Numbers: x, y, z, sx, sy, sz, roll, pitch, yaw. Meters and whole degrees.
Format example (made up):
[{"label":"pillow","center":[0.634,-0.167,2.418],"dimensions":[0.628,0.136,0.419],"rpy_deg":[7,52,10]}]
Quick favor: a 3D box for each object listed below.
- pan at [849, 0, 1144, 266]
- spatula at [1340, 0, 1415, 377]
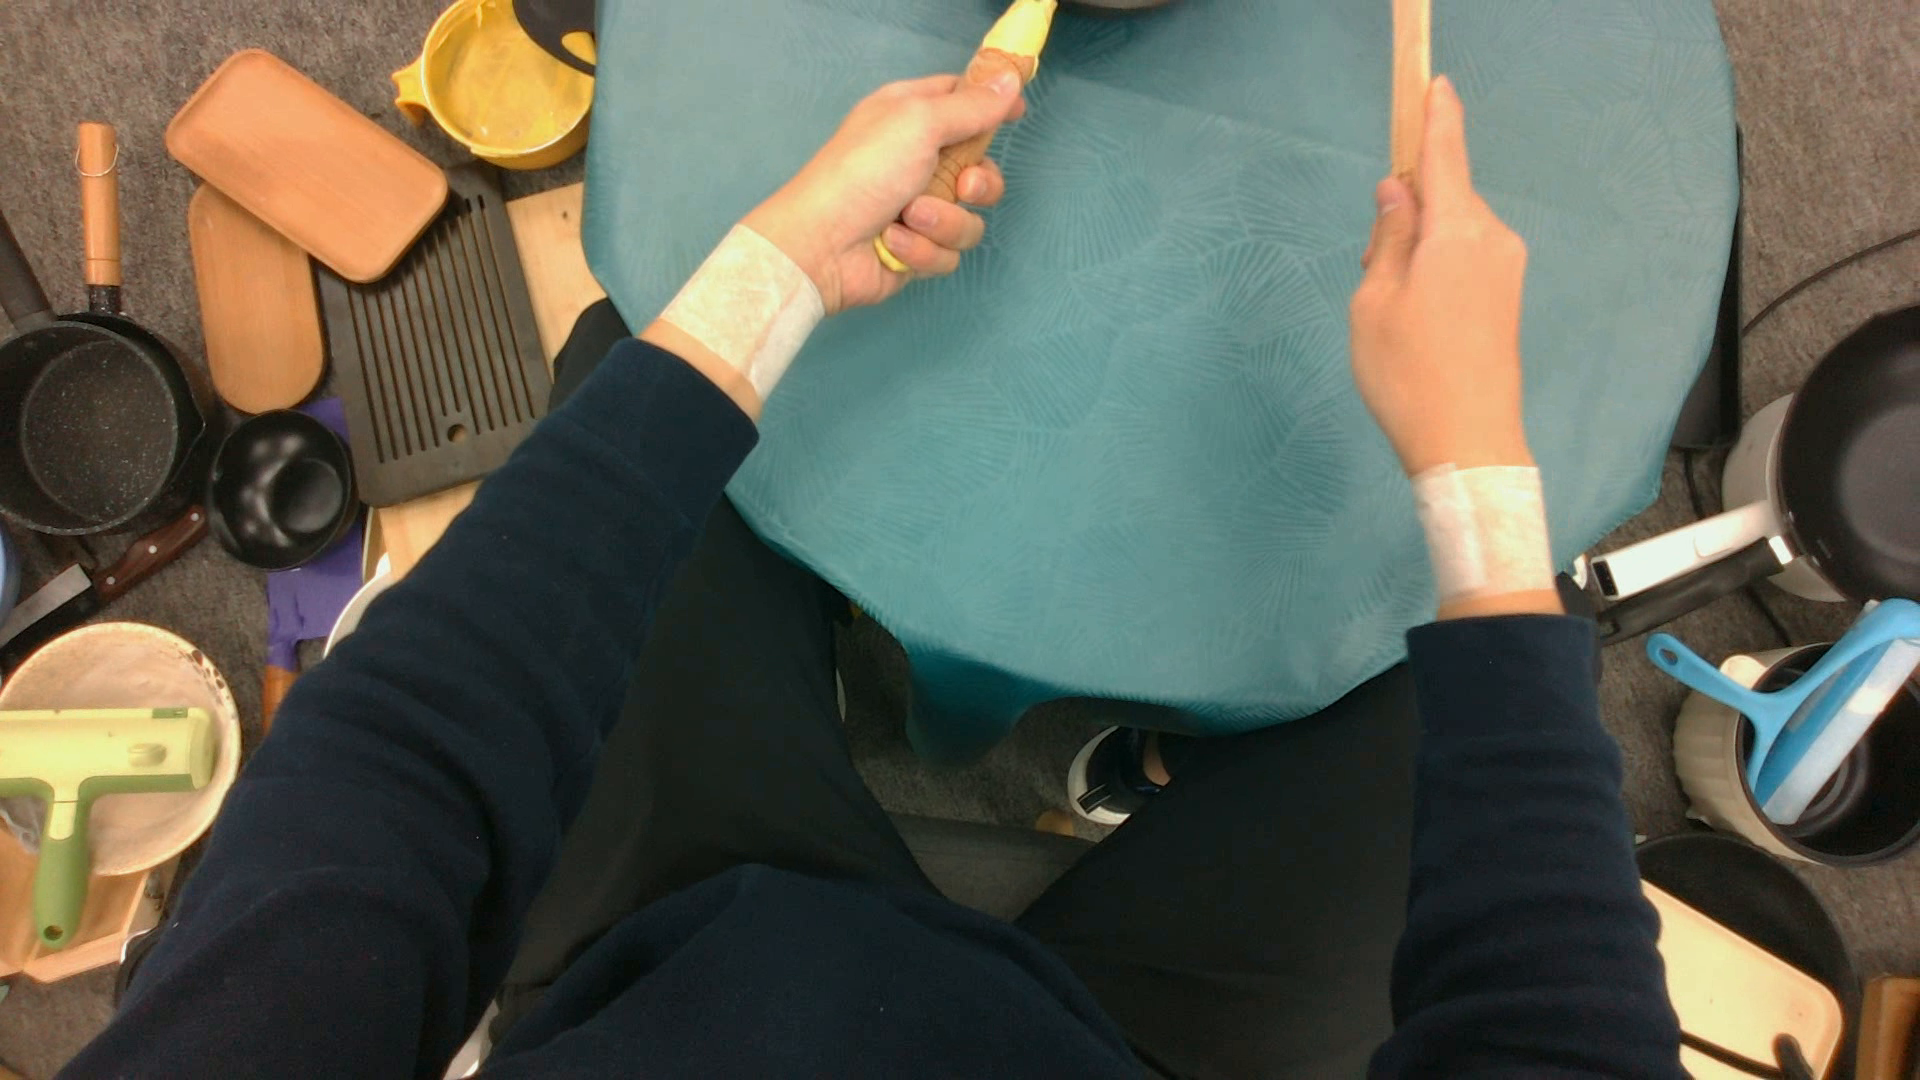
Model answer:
[{"label":"pan","center":[0.020,-0.259,0.666],"dimensions":[0.169,0.049,0.325],"rpy_deg":[26,71,0]},{"label":"spatula","center":[0.171,-0.234,0.605],"dimensions":[0.016,0.080,0.327],"rpy_deg":[-6,91,-23]}]
